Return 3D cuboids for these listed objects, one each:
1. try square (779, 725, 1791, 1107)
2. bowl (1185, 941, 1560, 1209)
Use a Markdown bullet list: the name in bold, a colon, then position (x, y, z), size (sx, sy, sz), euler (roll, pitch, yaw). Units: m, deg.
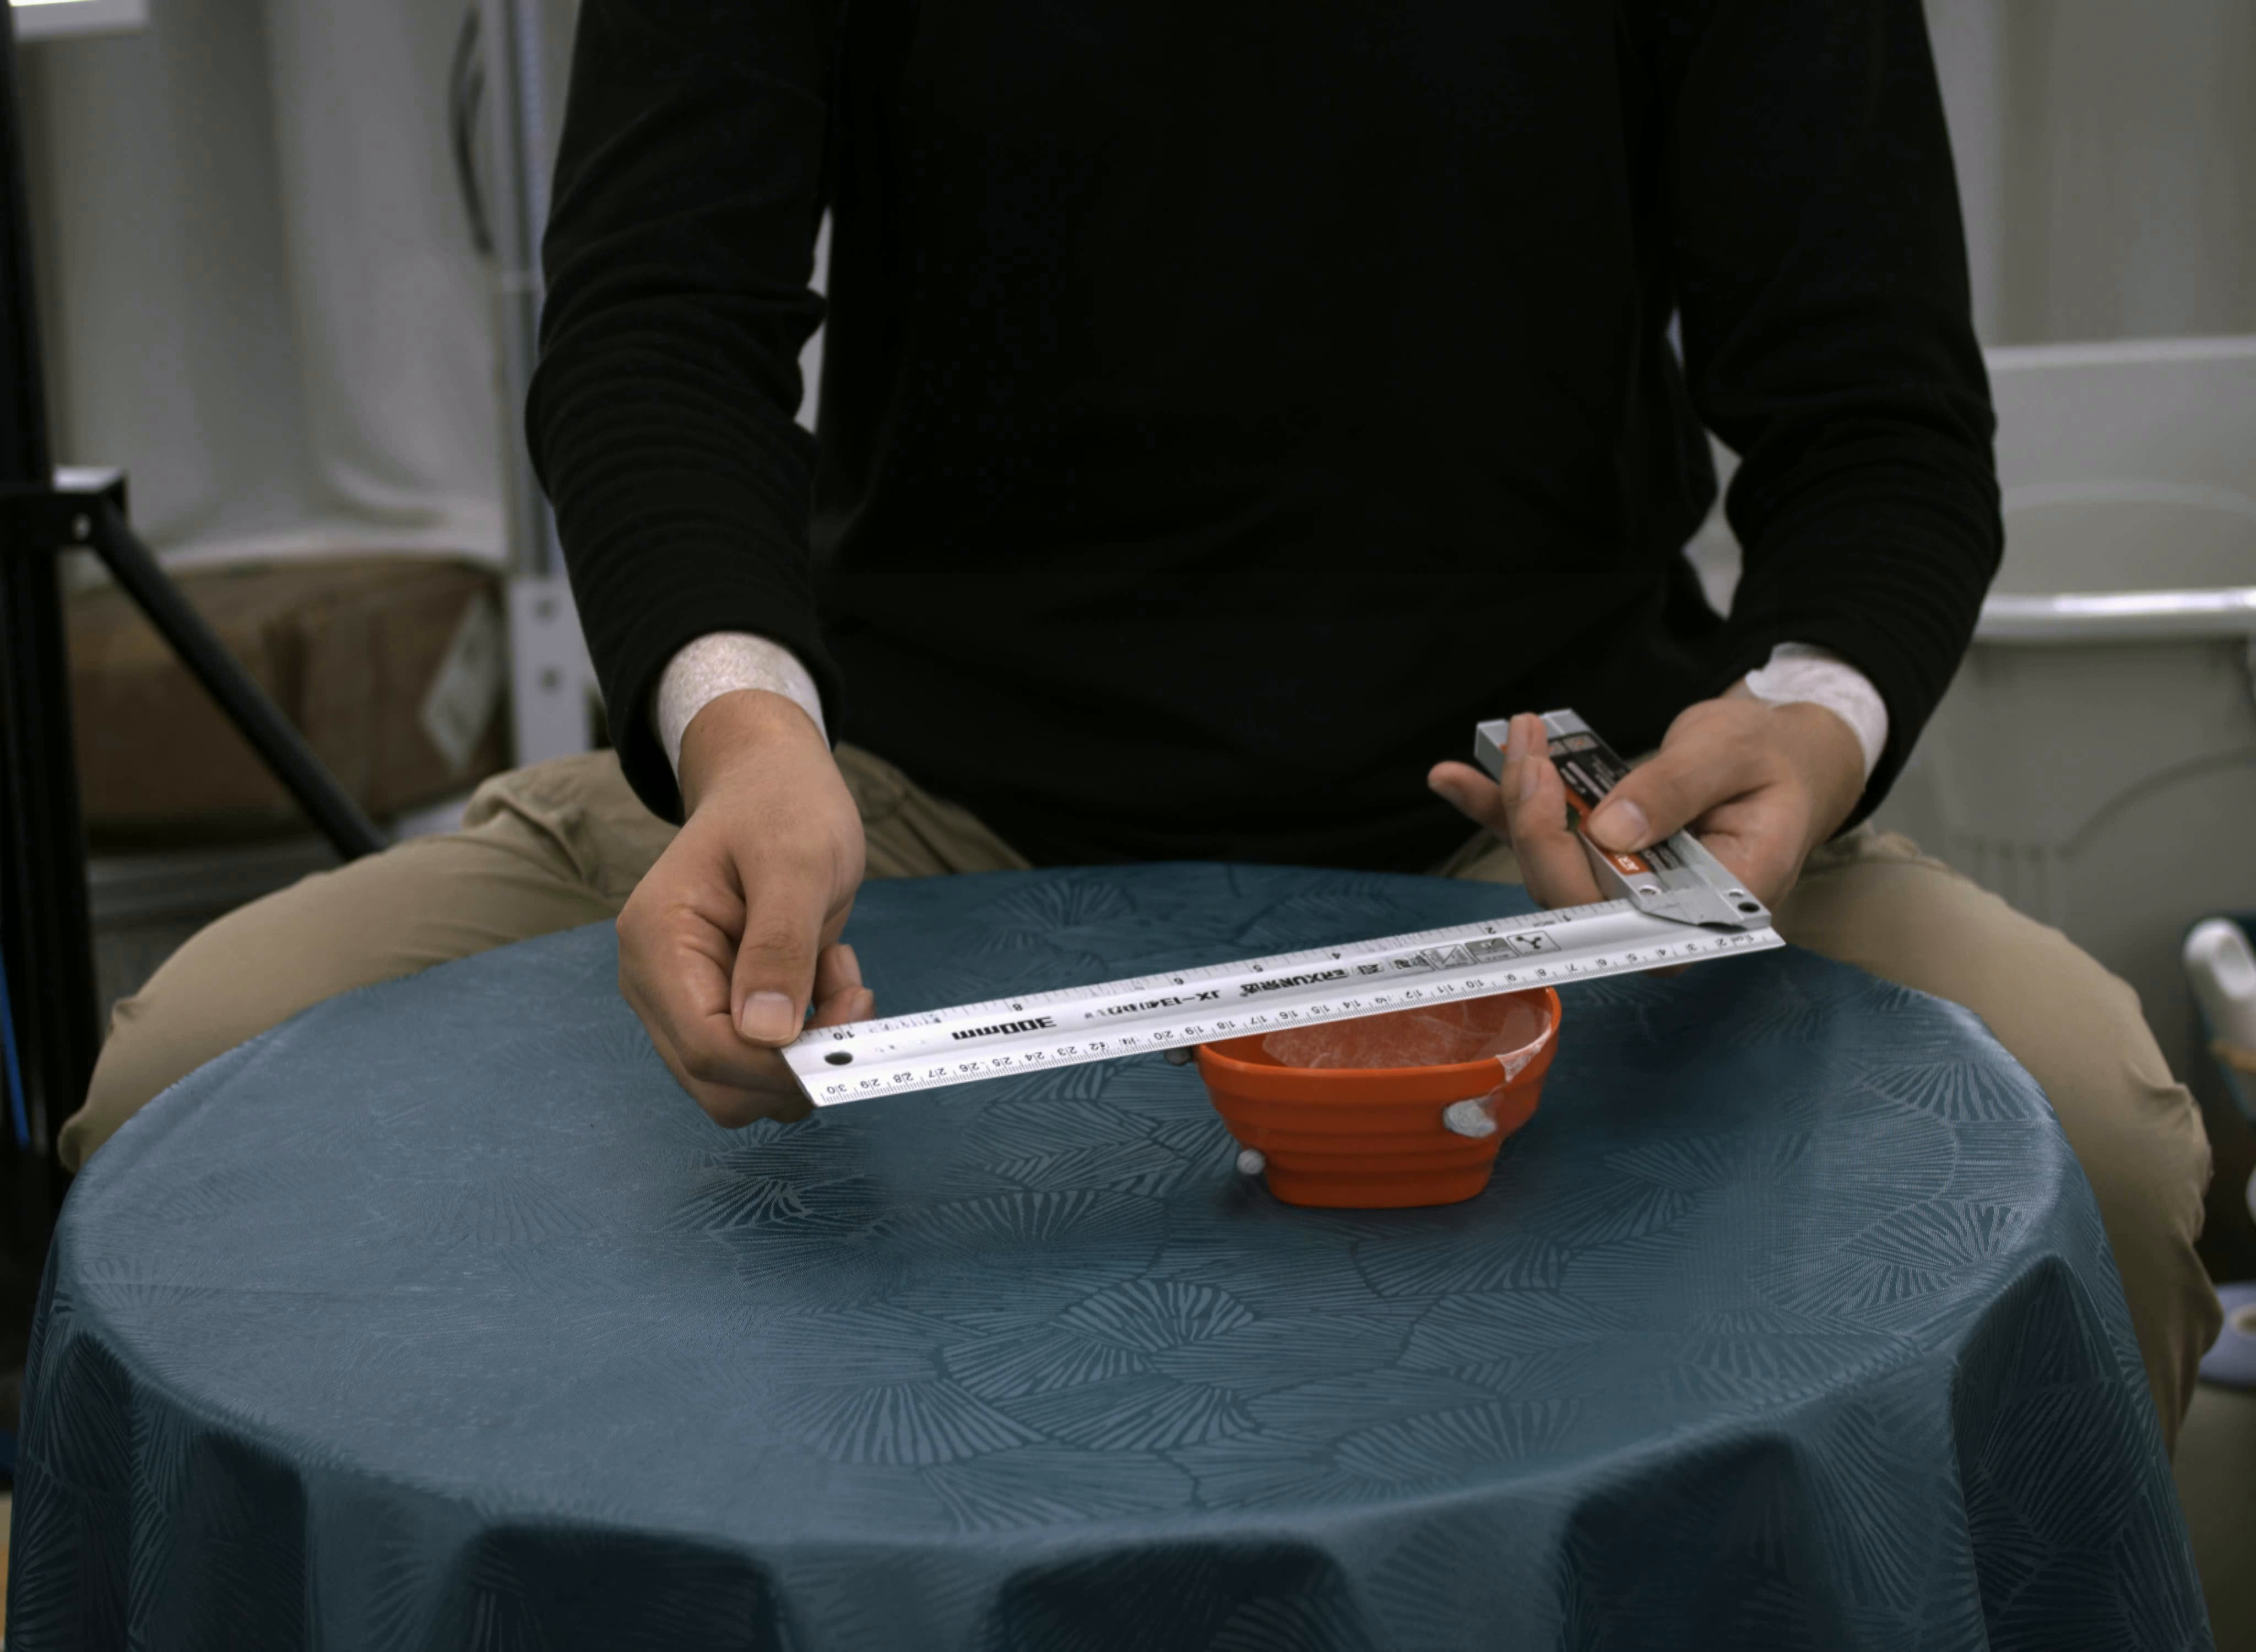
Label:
- **try square**: position (0.031, 0.025, 1.604), size (0.307, 0.016, 0.155), euler (-8, 28, -18)
- **bowl**: position (0.073, 0.076, 1.556), size (0.118, 0.051, 0.119), euler (-5, 19, 0)
